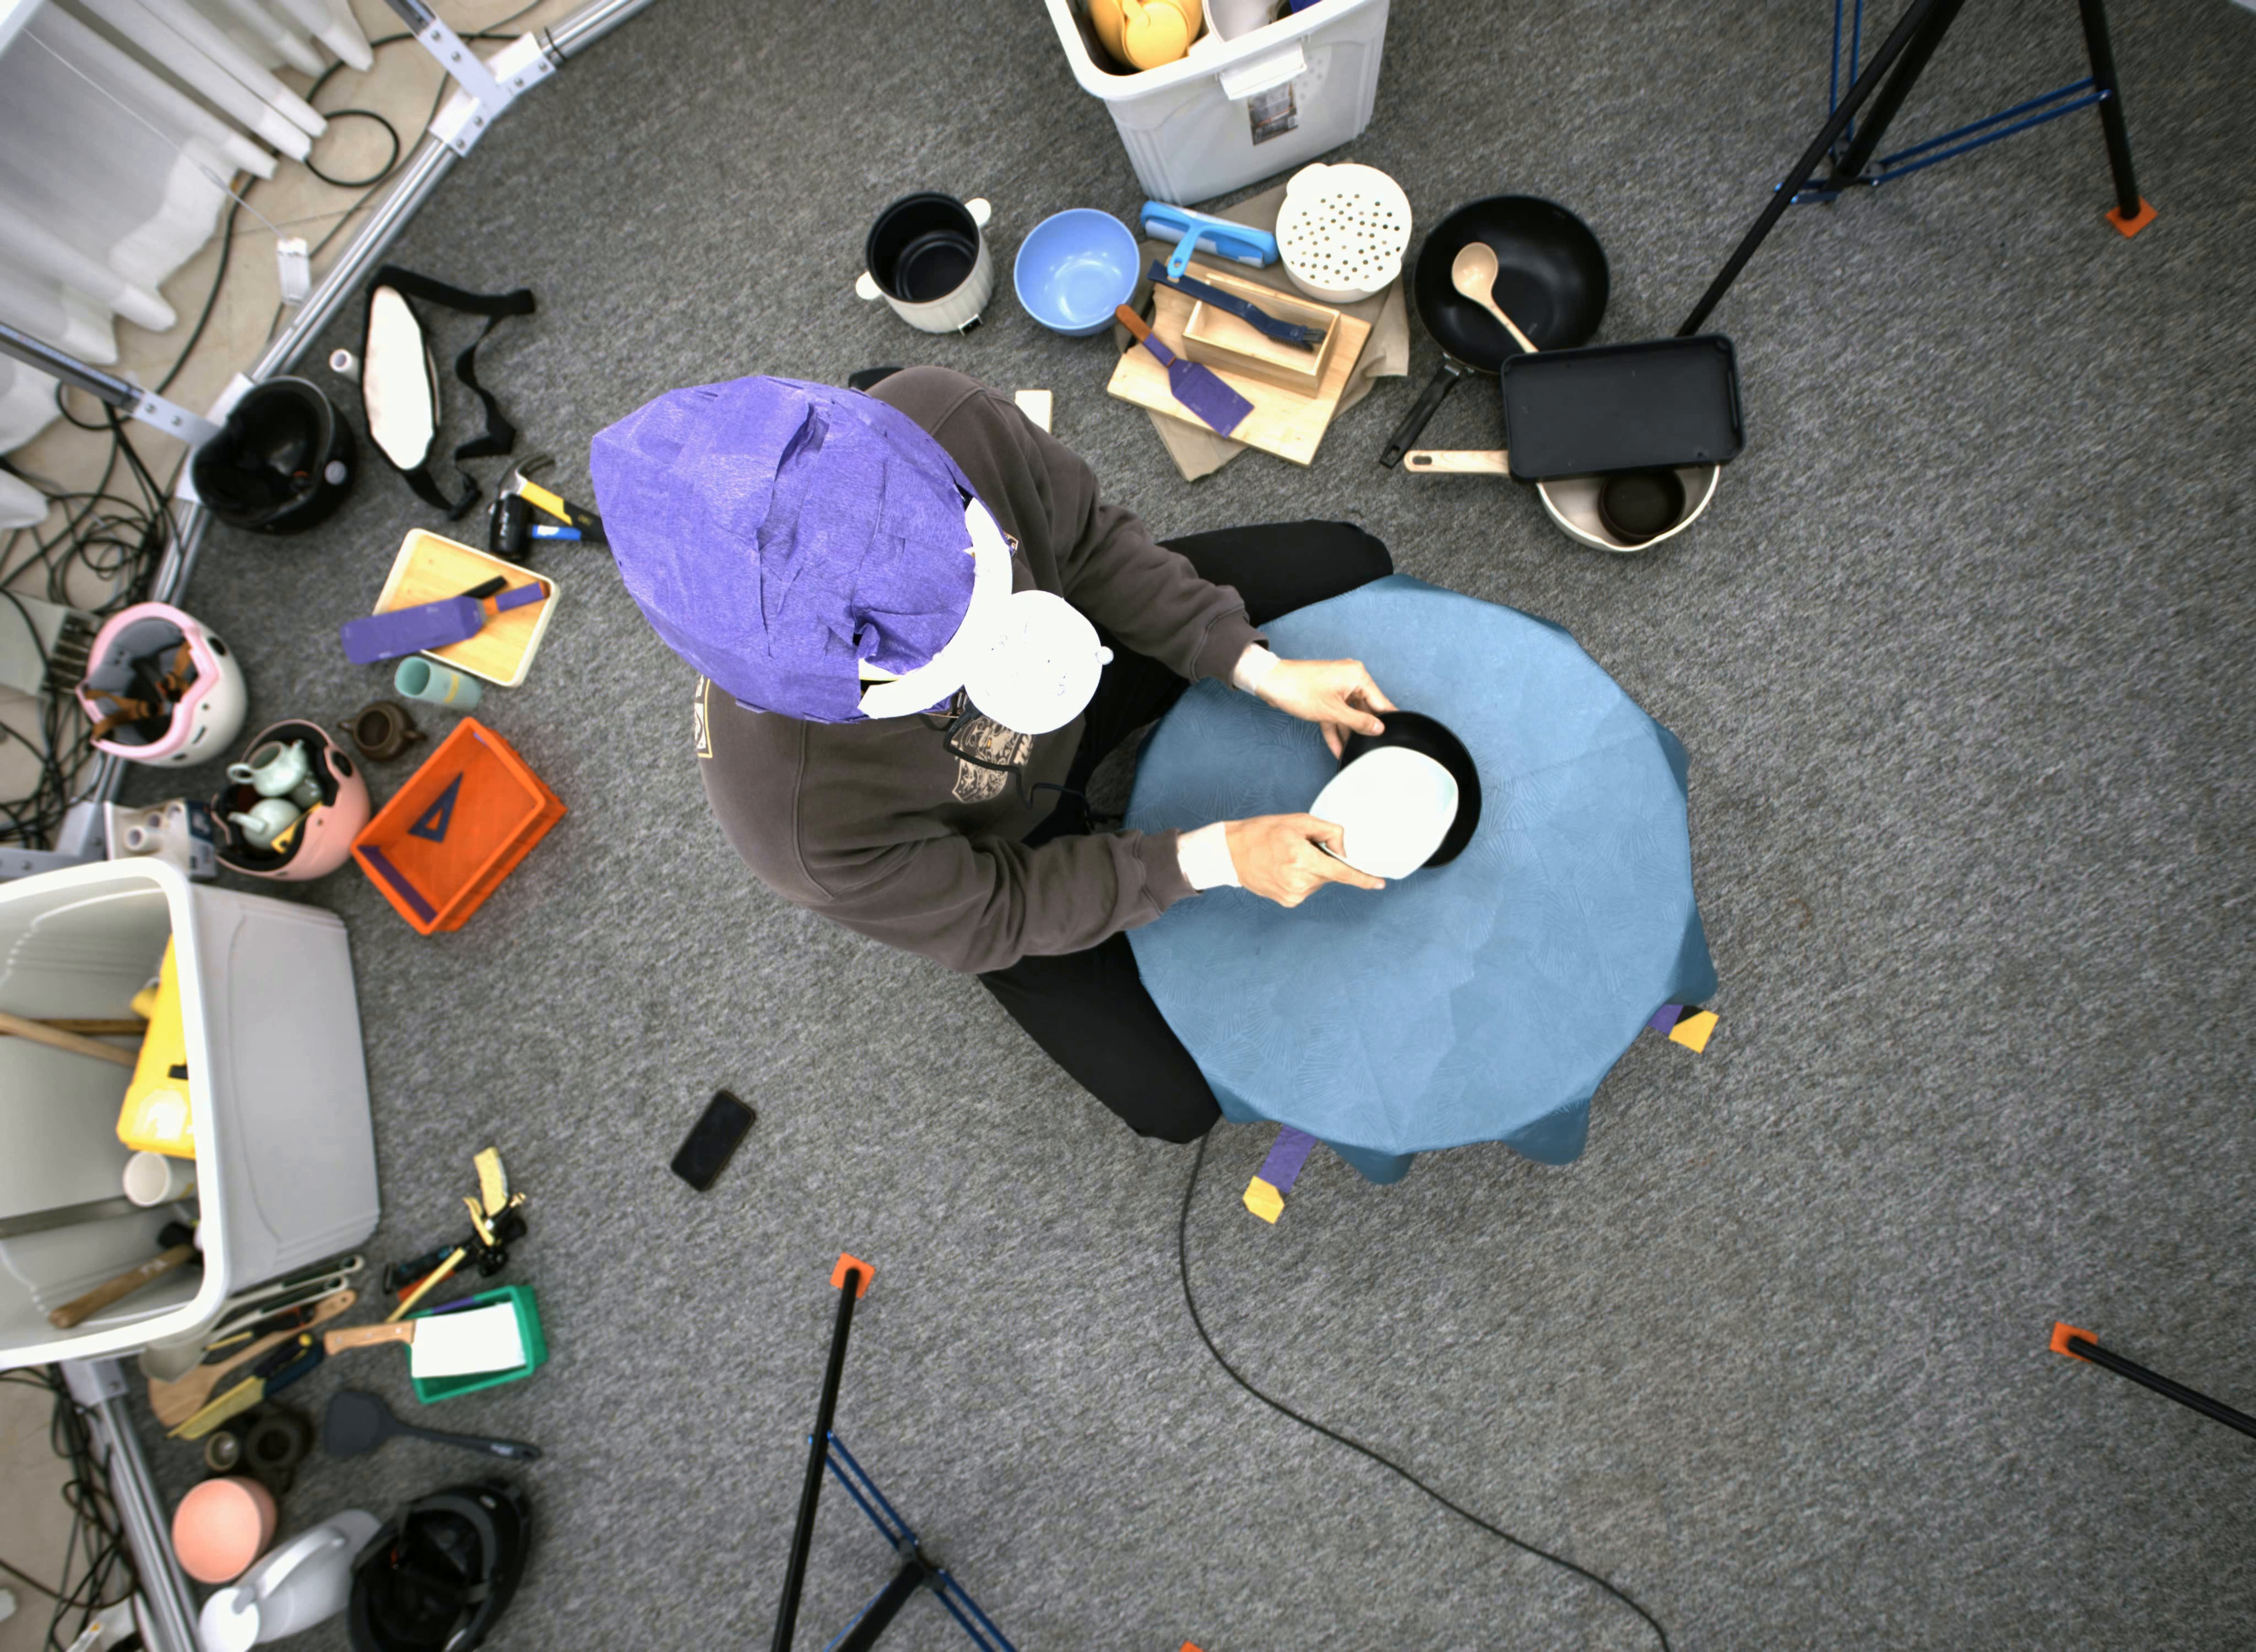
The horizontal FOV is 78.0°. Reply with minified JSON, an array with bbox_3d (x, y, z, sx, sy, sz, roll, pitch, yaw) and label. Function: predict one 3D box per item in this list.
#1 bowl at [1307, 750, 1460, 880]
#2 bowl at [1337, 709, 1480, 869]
[{"bbox_3d":[0.256,-0.003,1.351,0.153,0.059,0.147,-18,43,17],"label":"bowl"},{"bbox_3d":[0.291,-0.040,1.422,0.138,0.066,0.169,-30,86,11],"label":"bowl"}]
